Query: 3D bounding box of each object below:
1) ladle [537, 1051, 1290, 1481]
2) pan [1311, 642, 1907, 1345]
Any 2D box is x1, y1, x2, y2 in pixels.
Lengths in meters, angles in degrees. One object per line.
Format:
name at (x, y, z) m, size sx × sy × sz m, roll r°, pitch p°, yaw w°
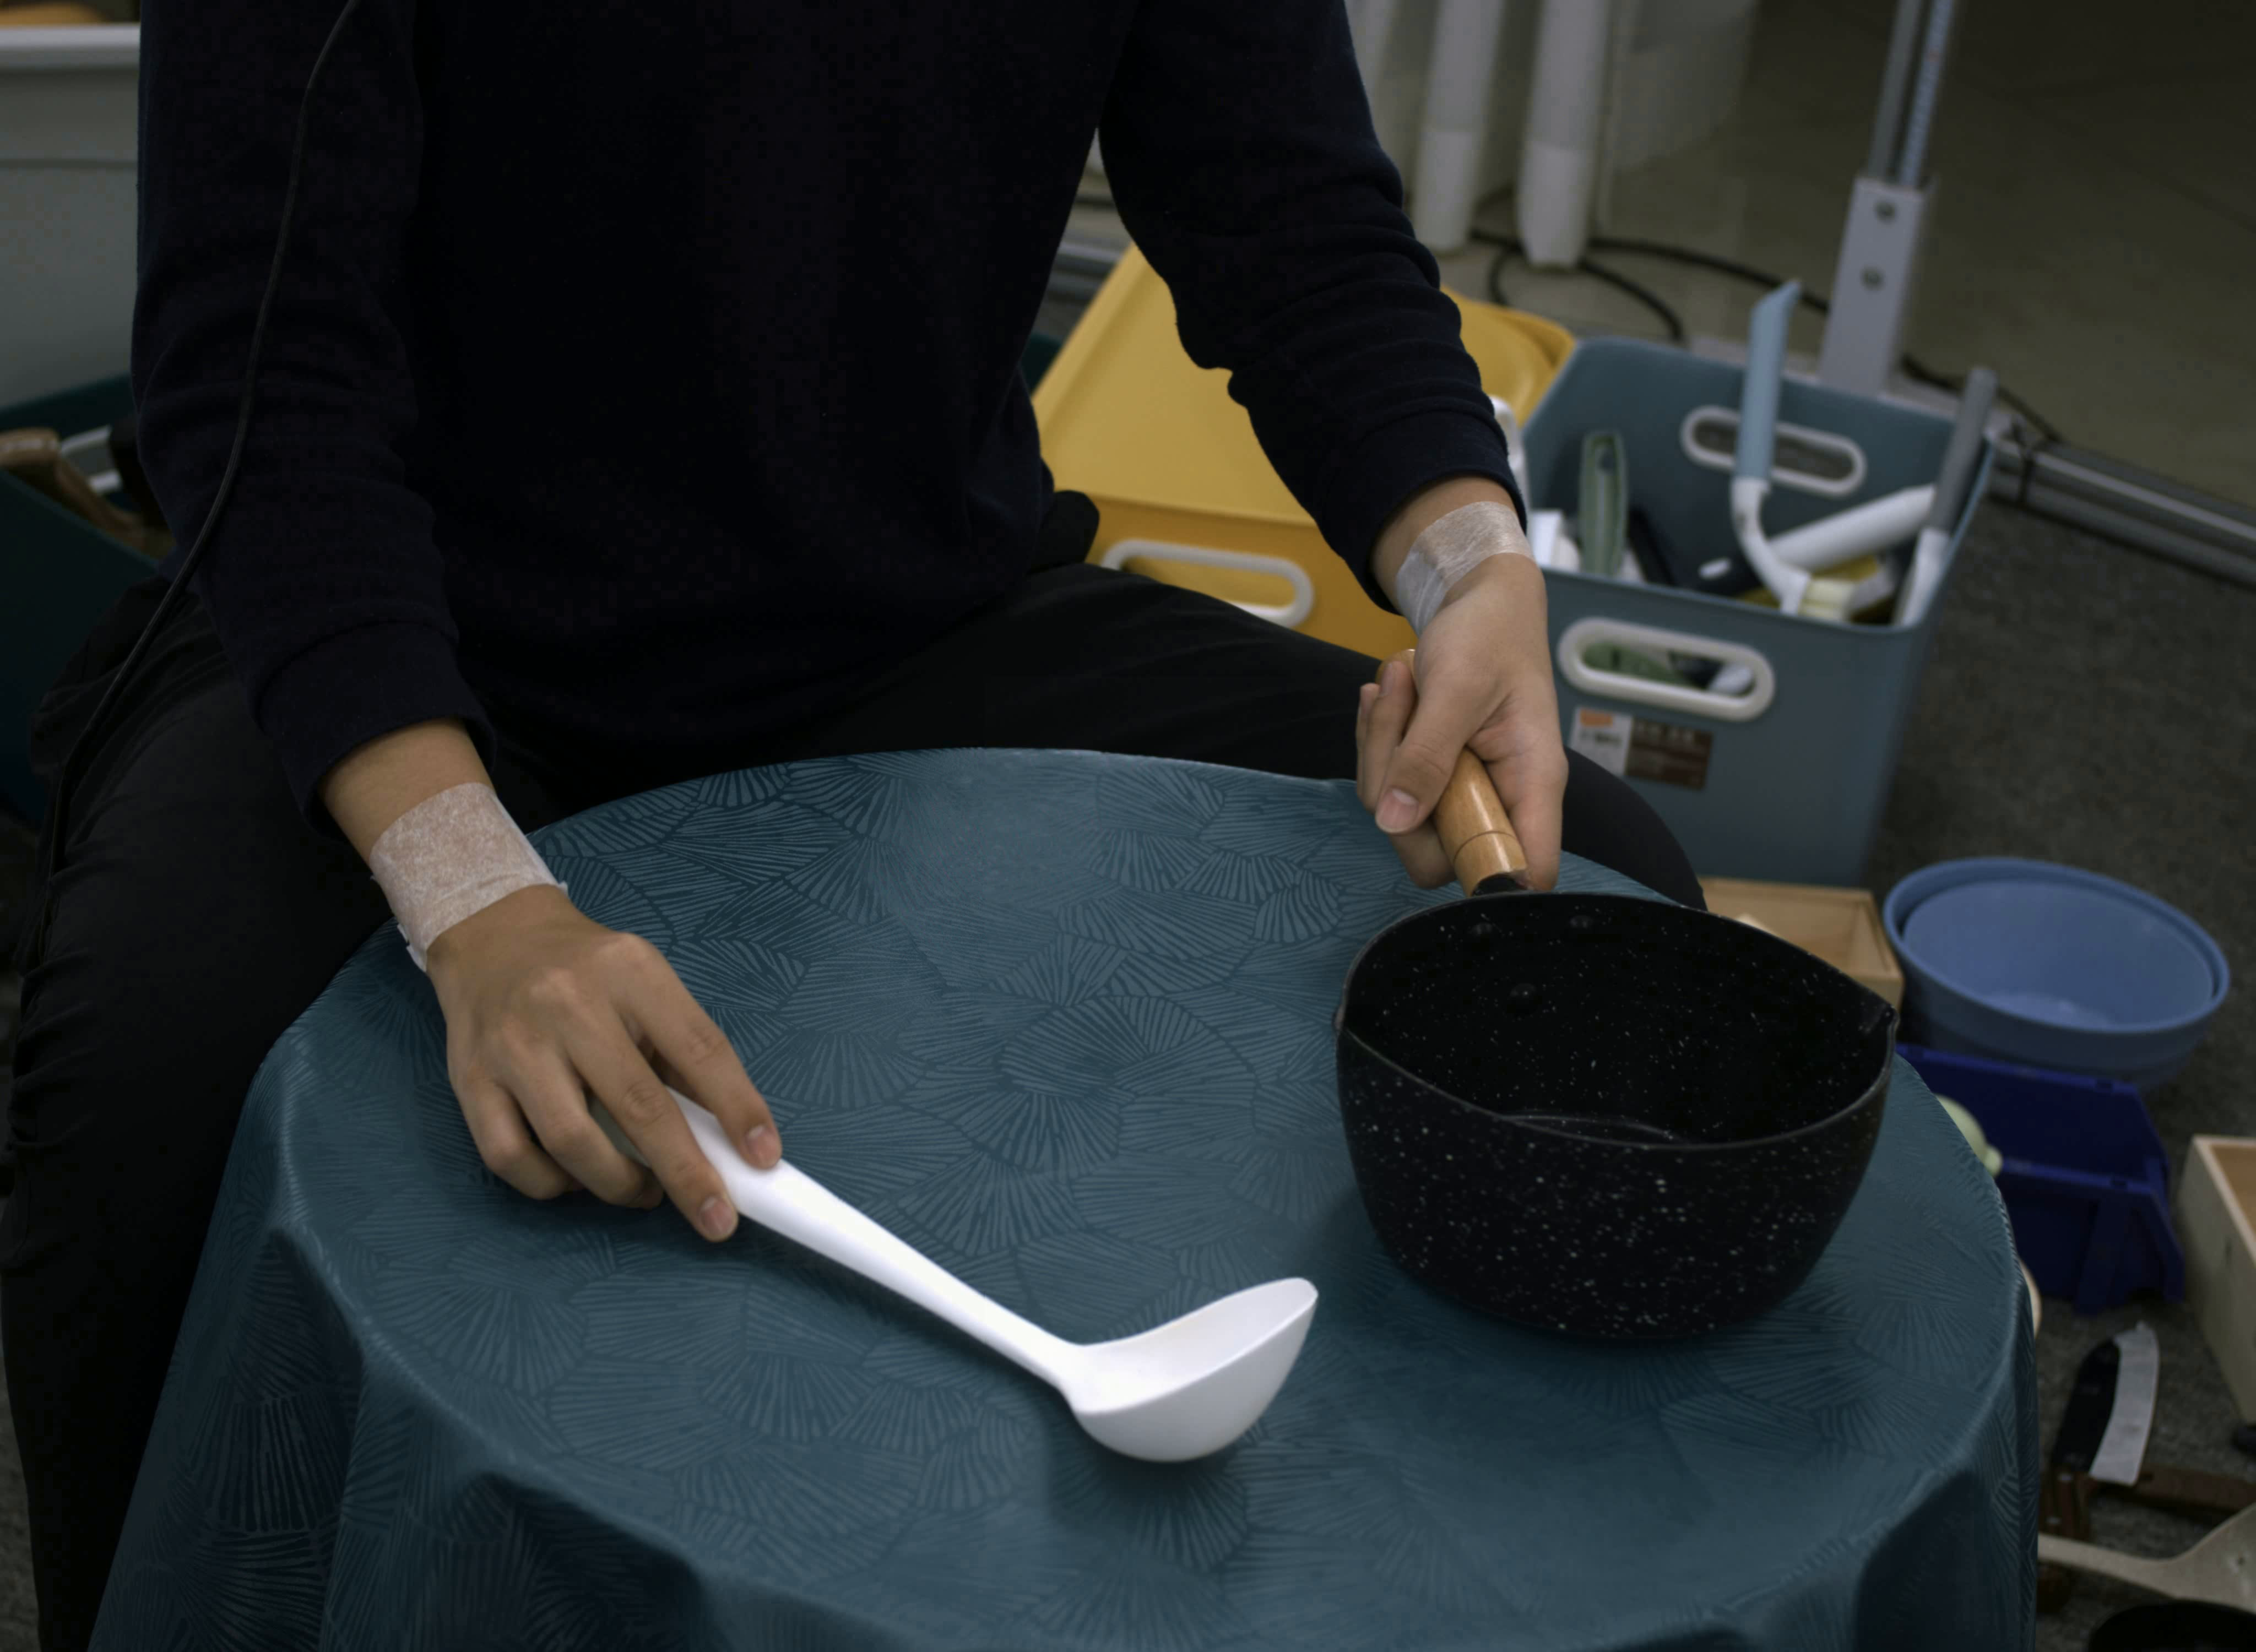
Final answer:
ladle at (-0.076, 0.130, 1.699) m, size 0.295 × 0.069 × 0.090 m, roll 26°, pitch 47°, yaw 31°
pan at (0.139, 0.055, 1.852) m, size 0.206 × 0.108 × 0.346 m, roll -3°, pitch 28°, yaw -16°
